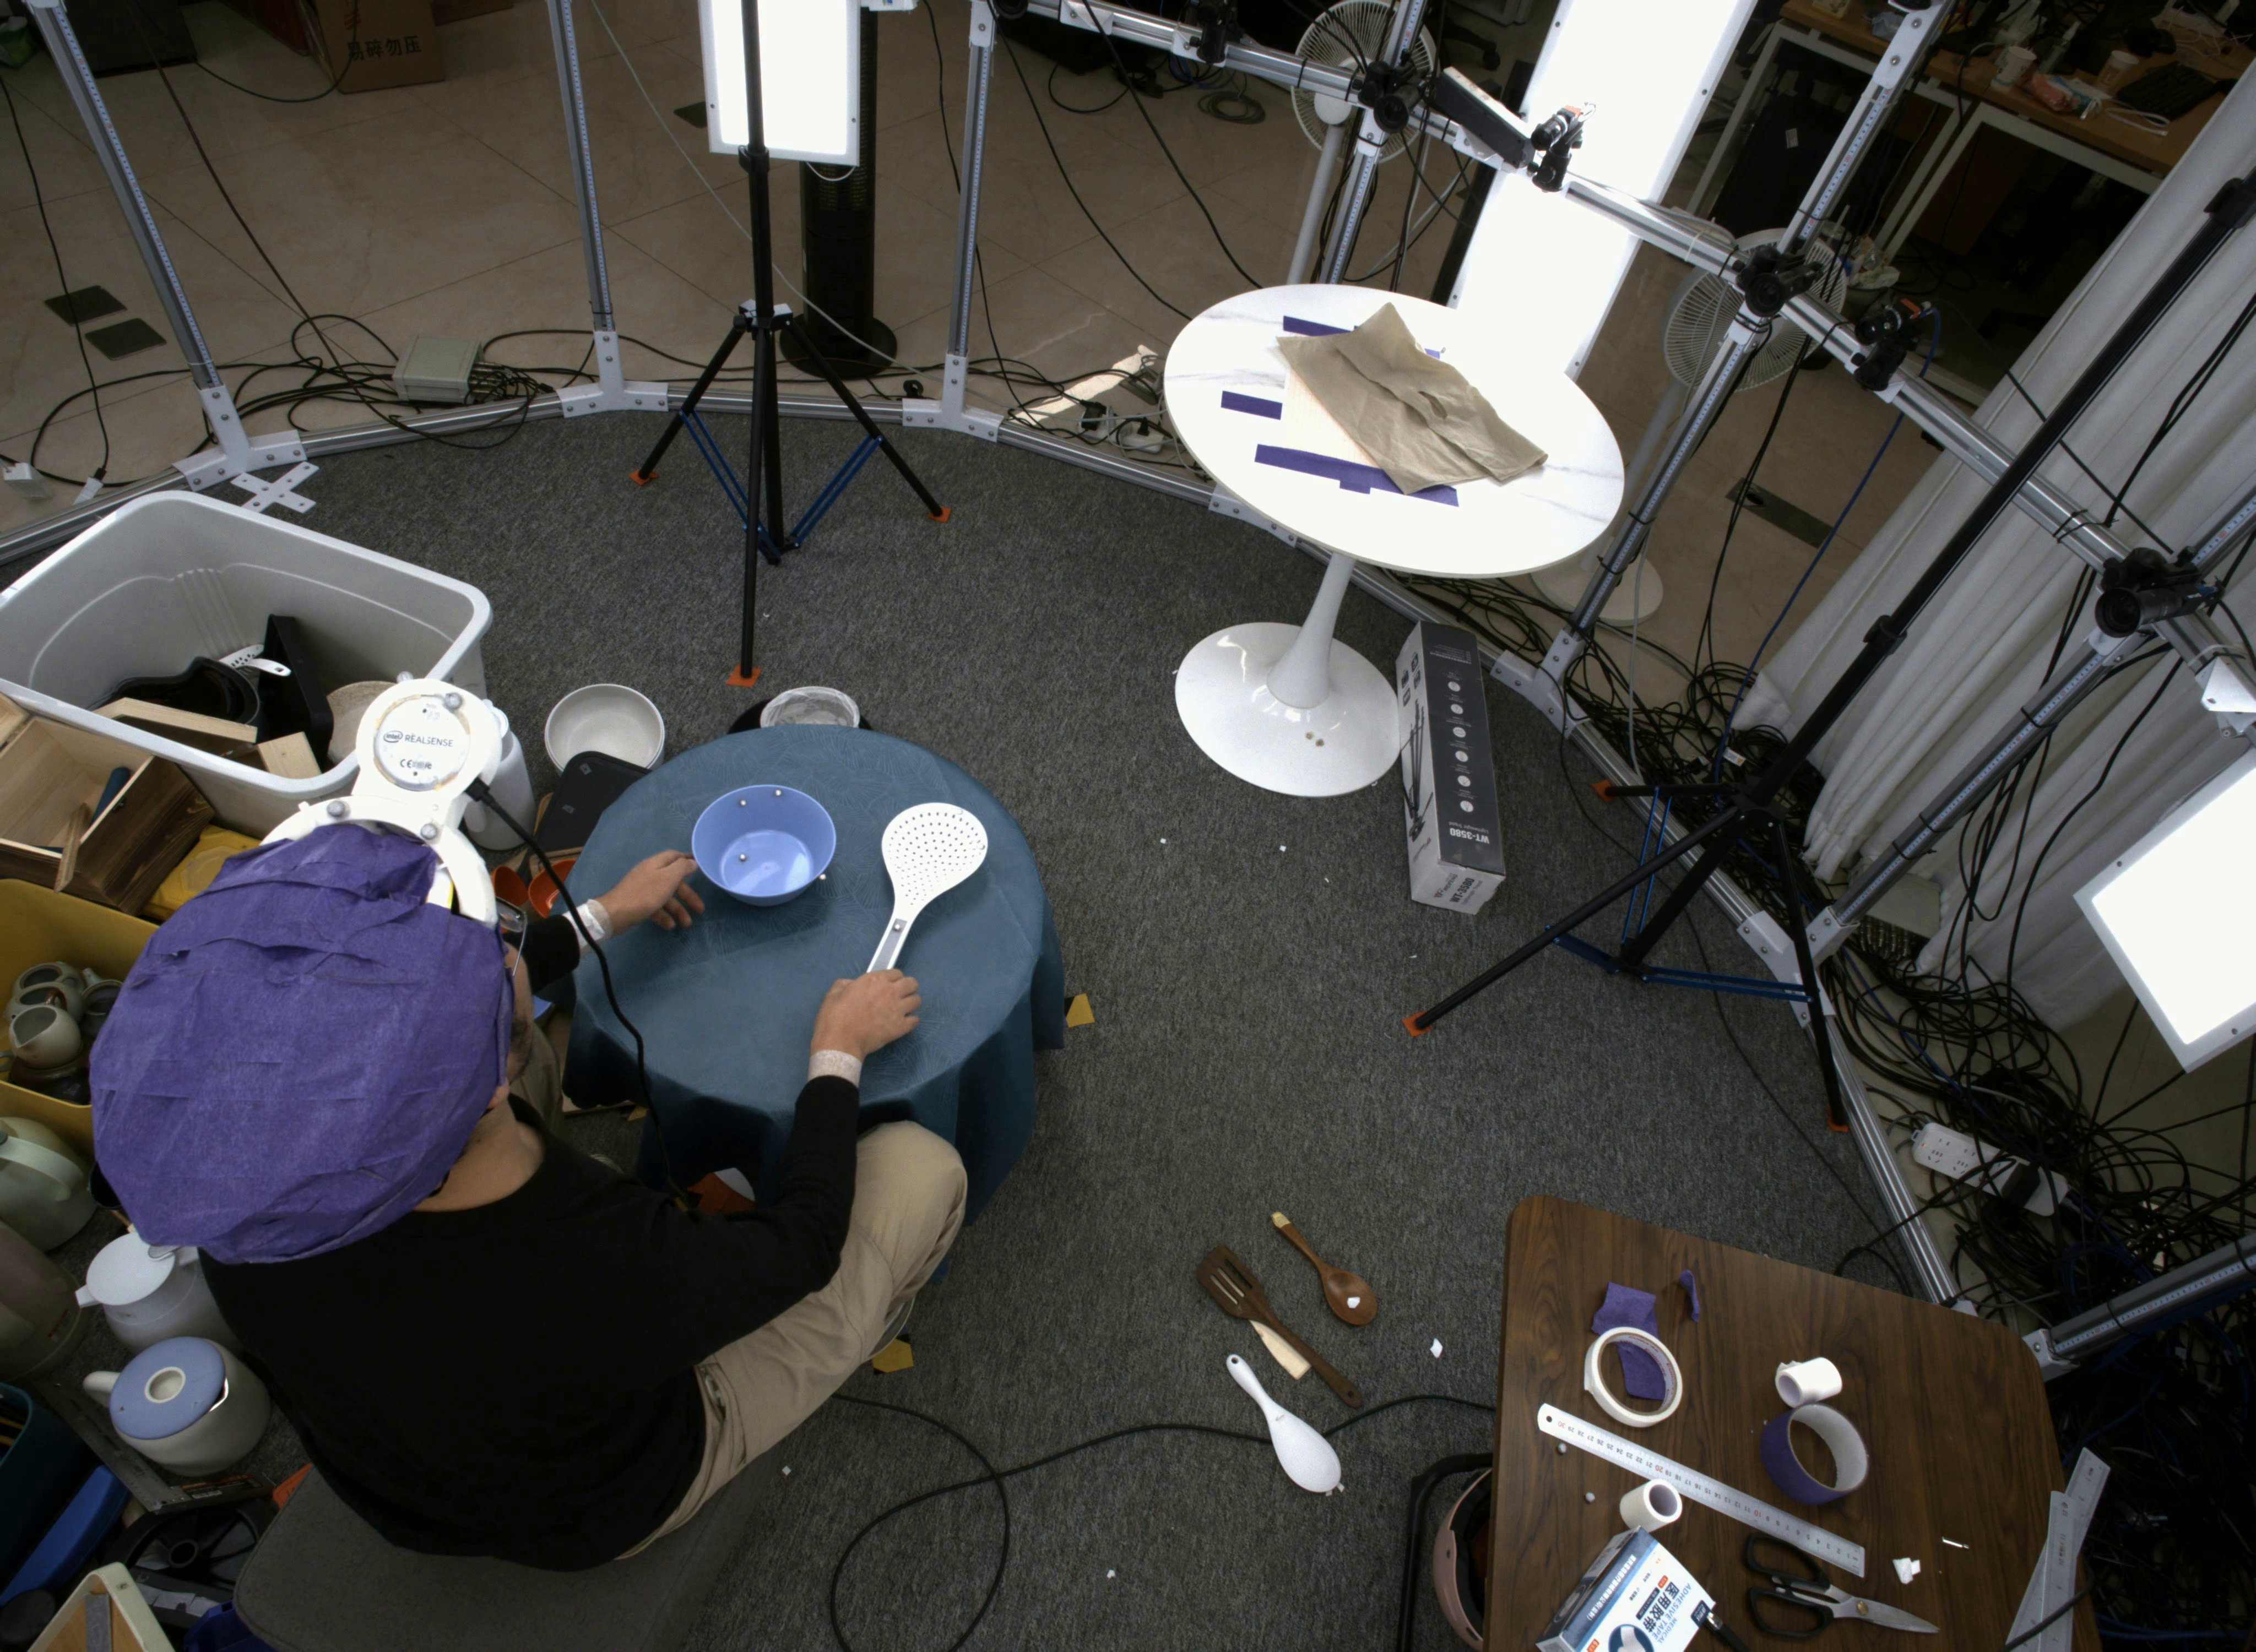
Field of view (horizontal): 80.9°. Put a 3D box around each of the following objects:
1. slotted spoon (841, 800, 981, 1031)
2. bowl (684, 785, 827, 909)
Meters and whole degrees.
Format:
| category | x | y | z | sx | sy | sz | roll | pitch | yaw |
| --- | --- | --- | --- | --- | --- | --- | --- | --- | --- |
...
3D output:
| category | x | y | z | sx | sy | sz | roll | pitch | yaw |
| --- | --- | --- | --- | --- | --- | --- | --- | --- | --- |
| slotted spoon | -0.286 | 0.104 | 1.638 | 0.134 | 0.047 | 0.345 | 16 | 49 | 3 |
| bowl | -0.469 | 0.036 | 1.635 | 0.176 | 0.071 | 0.173 | 8 | 53 | -9 |
